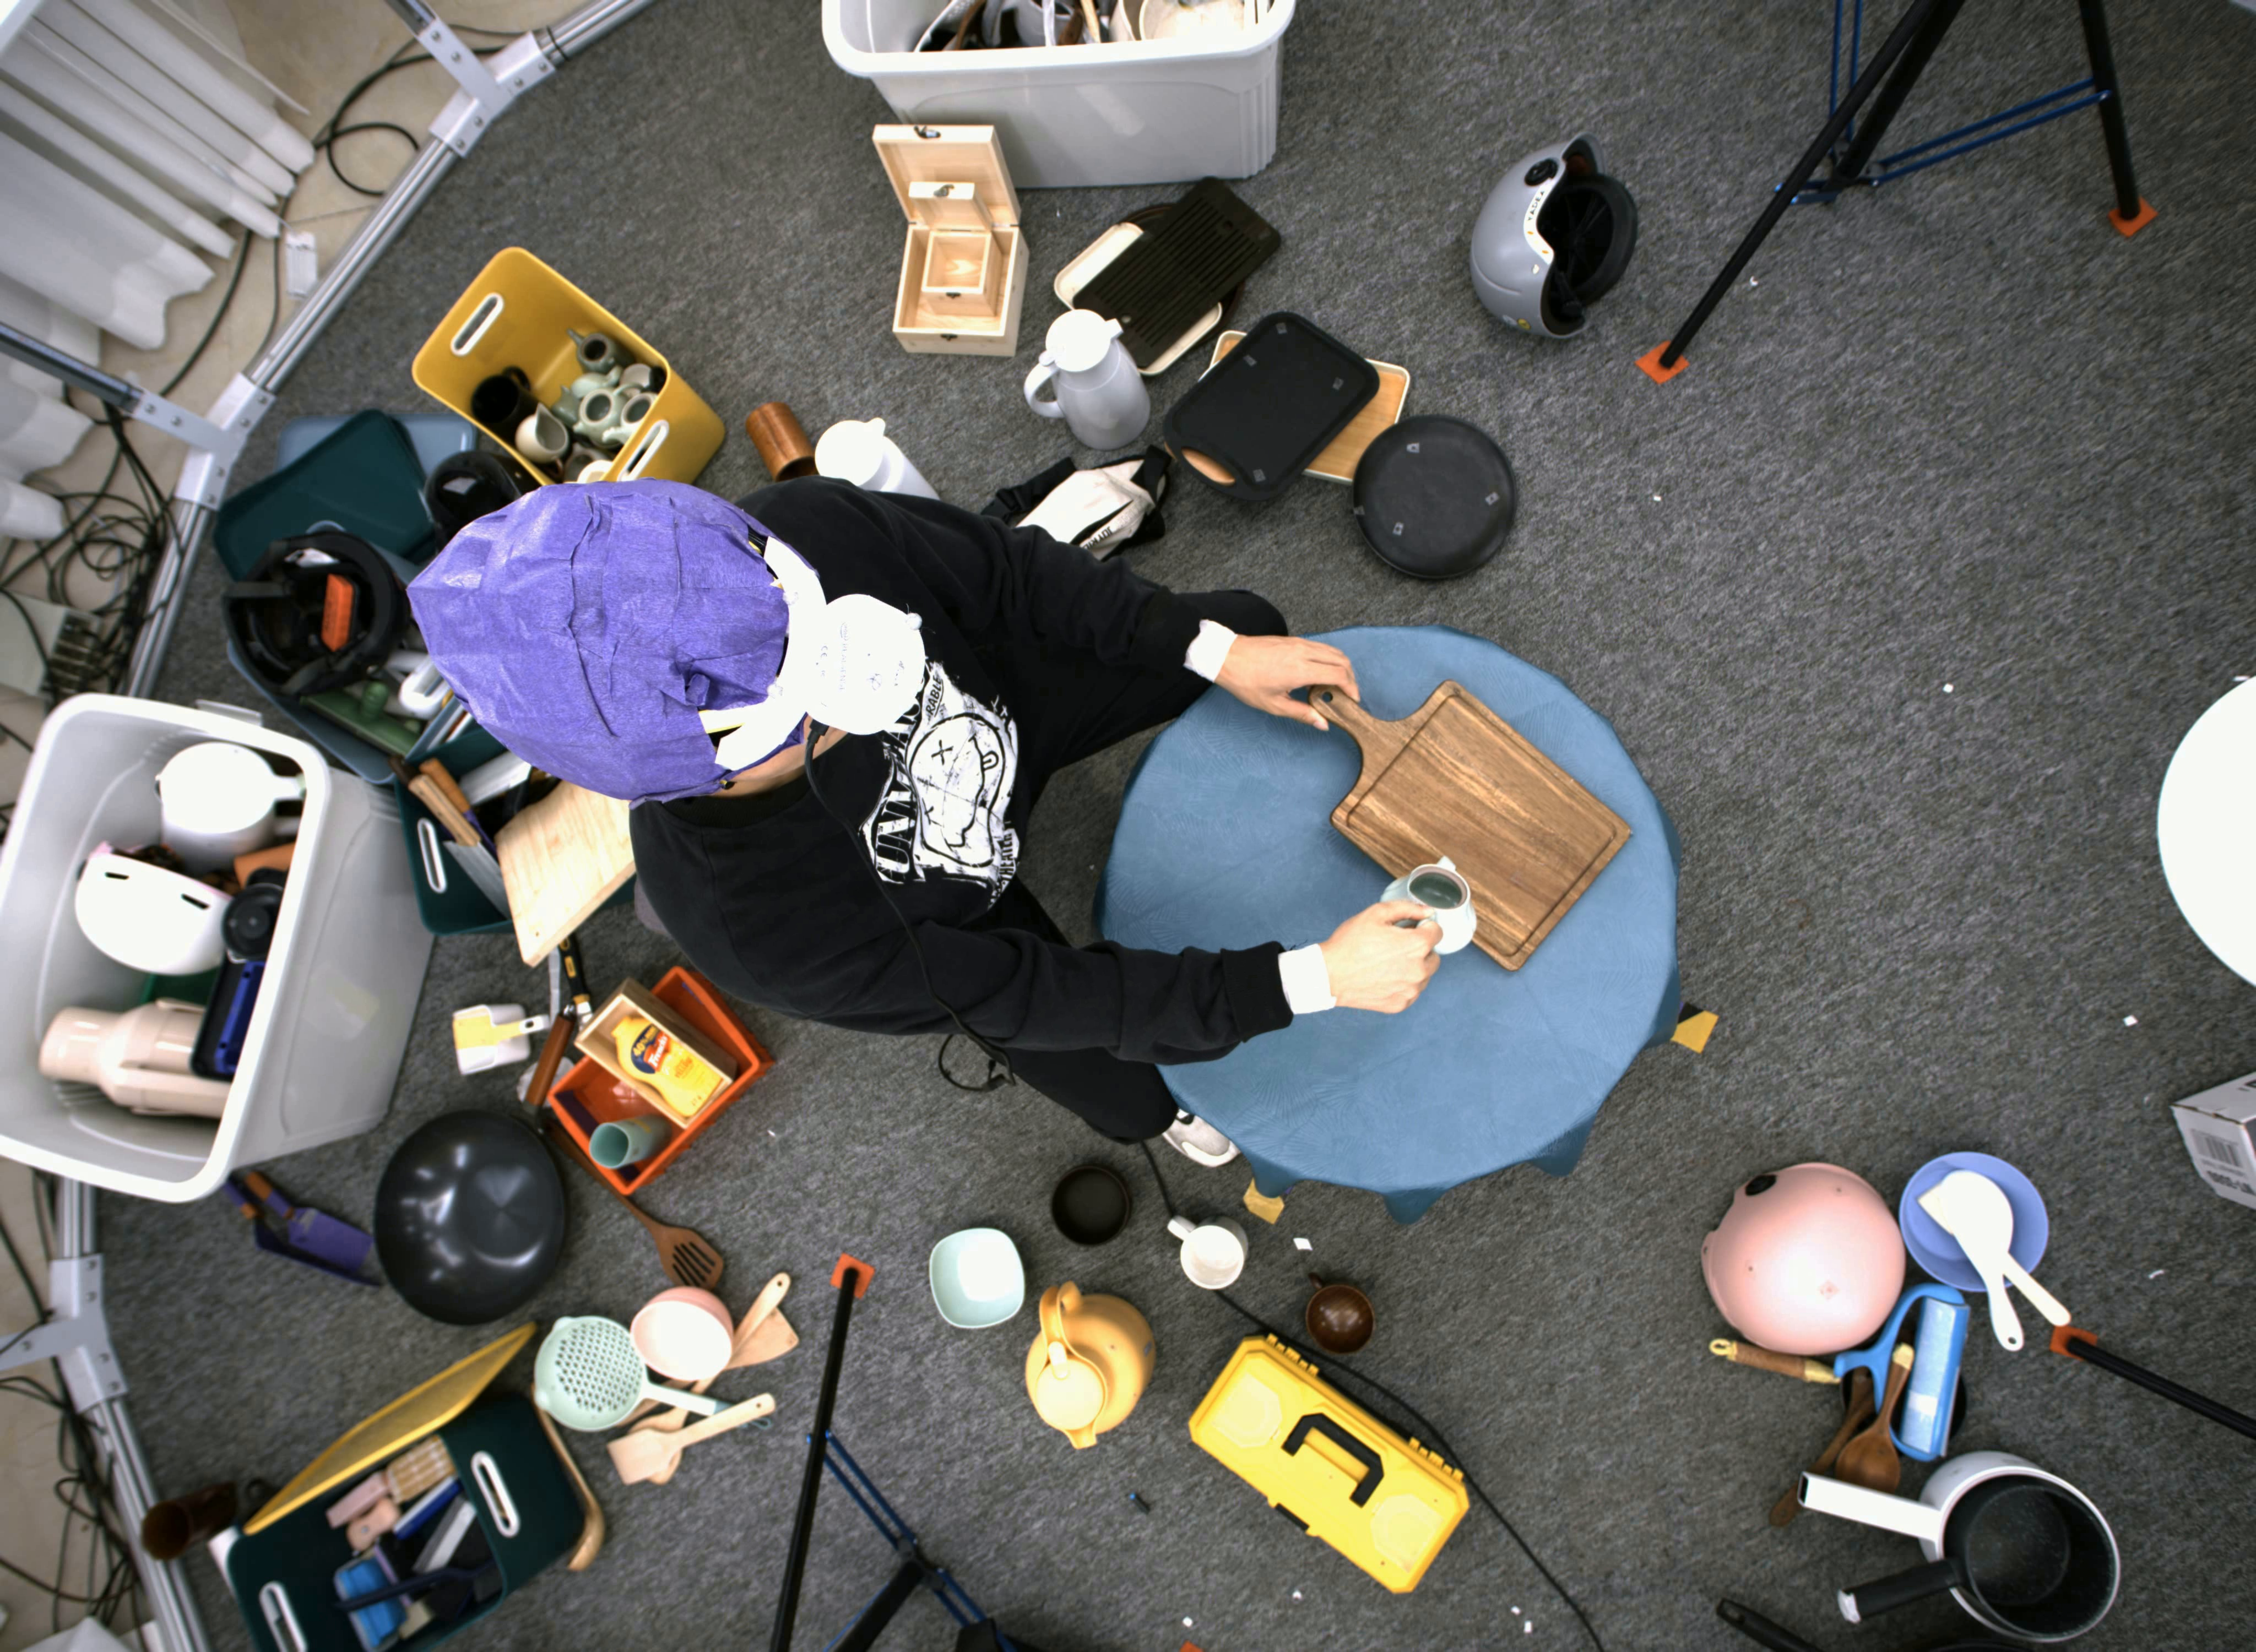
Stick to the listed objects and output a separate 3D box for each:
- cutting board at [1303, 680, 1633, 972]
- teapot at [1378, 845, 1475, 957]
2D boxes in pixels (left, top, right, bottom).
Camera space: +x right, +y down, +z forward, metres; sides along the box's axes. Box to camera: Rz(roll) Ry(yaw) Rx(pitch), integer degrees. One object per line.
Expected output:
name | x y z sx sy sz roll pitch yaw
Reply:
cutting board | 0.325 -0.033 1.419 0.352 0.023 0.202 39 95 1
teapot | 0.292 0.080 1.338 0.096 0.063 0.133 21 47 10
